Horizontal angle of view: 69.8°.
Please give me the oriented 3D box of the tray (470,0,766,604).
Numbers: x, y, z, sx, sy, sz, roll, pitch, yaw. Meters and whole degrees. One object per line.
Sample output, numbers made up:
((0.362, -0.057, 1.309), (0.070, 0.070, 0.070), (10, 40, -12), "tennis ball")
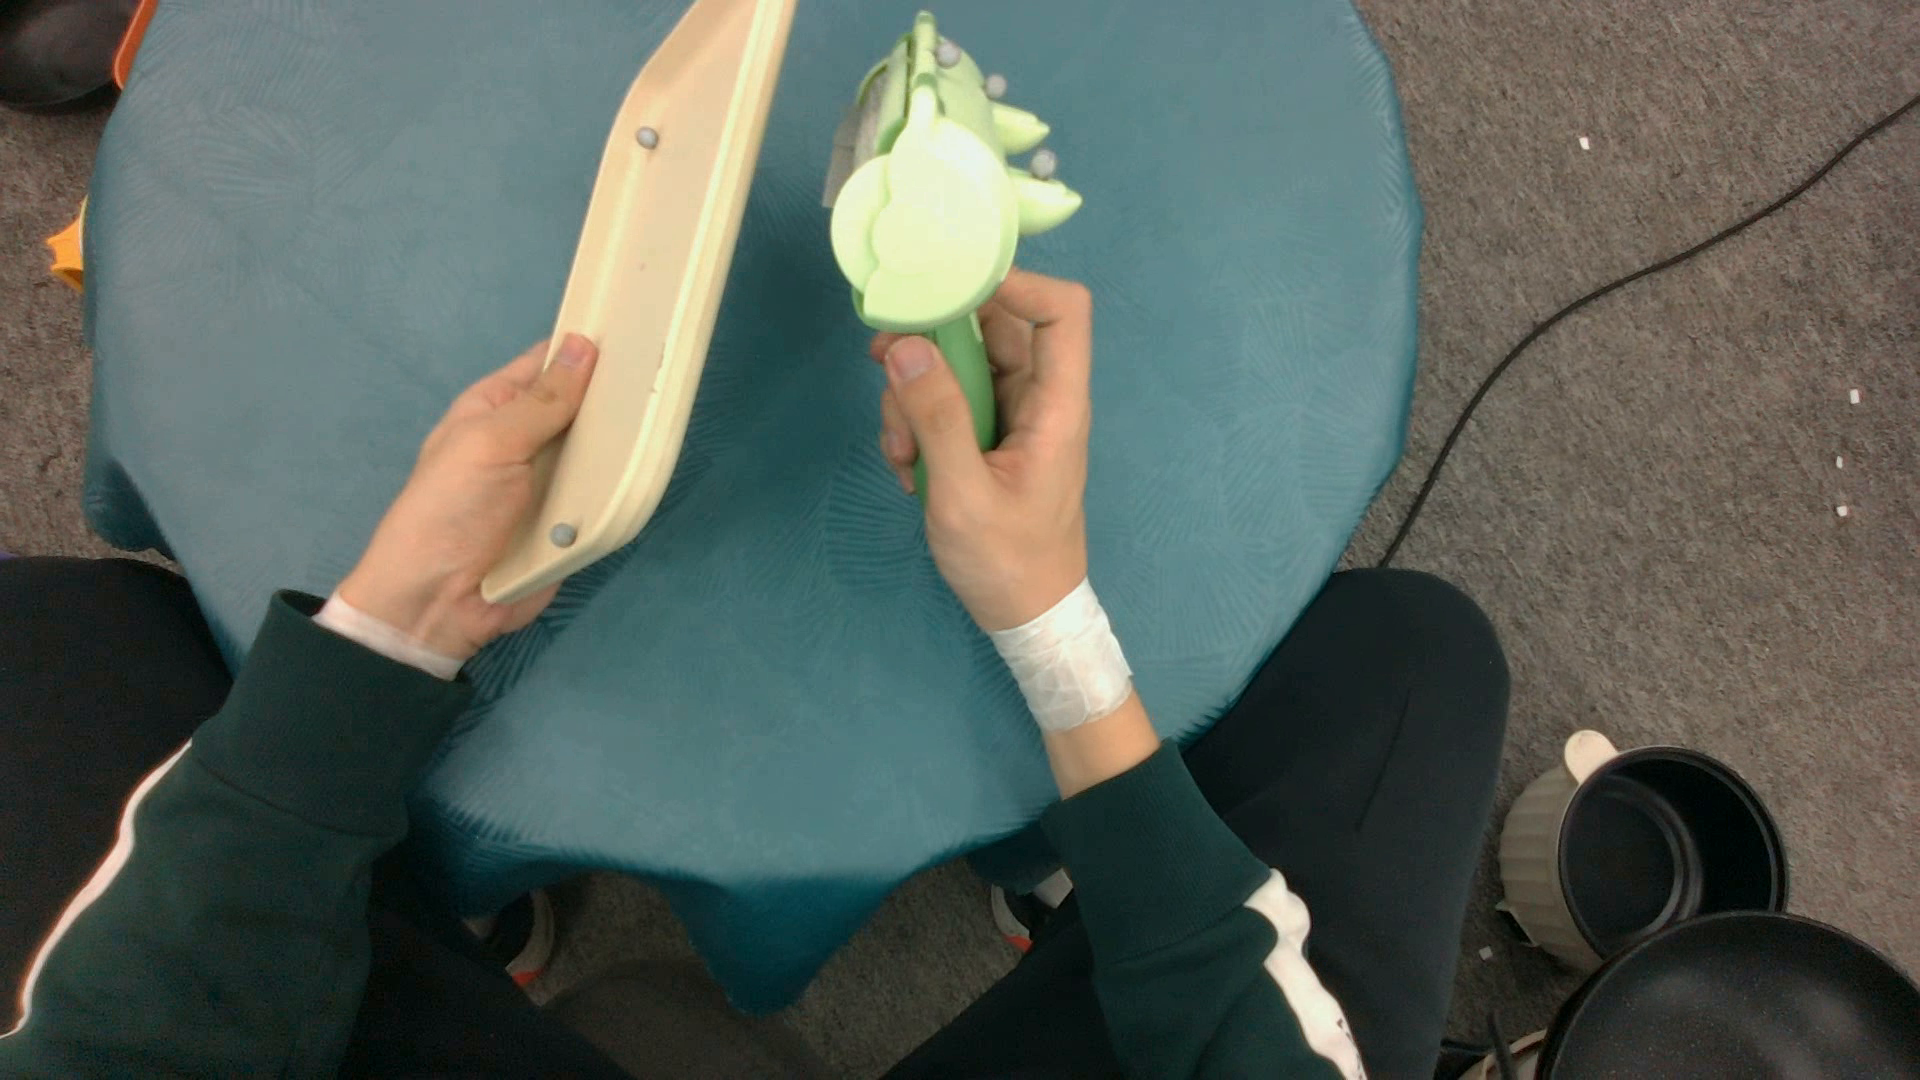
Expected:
((-0.124, -0.098, 0.503), (0.017, 0.170, 0.240), (20, 67, -28), "tray")

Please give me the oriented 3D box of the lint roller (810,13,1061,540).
((0.001, -0.088, 0.498), (0.082, 0.199, 0.183), (-17, 117, 4), "lint roller")
